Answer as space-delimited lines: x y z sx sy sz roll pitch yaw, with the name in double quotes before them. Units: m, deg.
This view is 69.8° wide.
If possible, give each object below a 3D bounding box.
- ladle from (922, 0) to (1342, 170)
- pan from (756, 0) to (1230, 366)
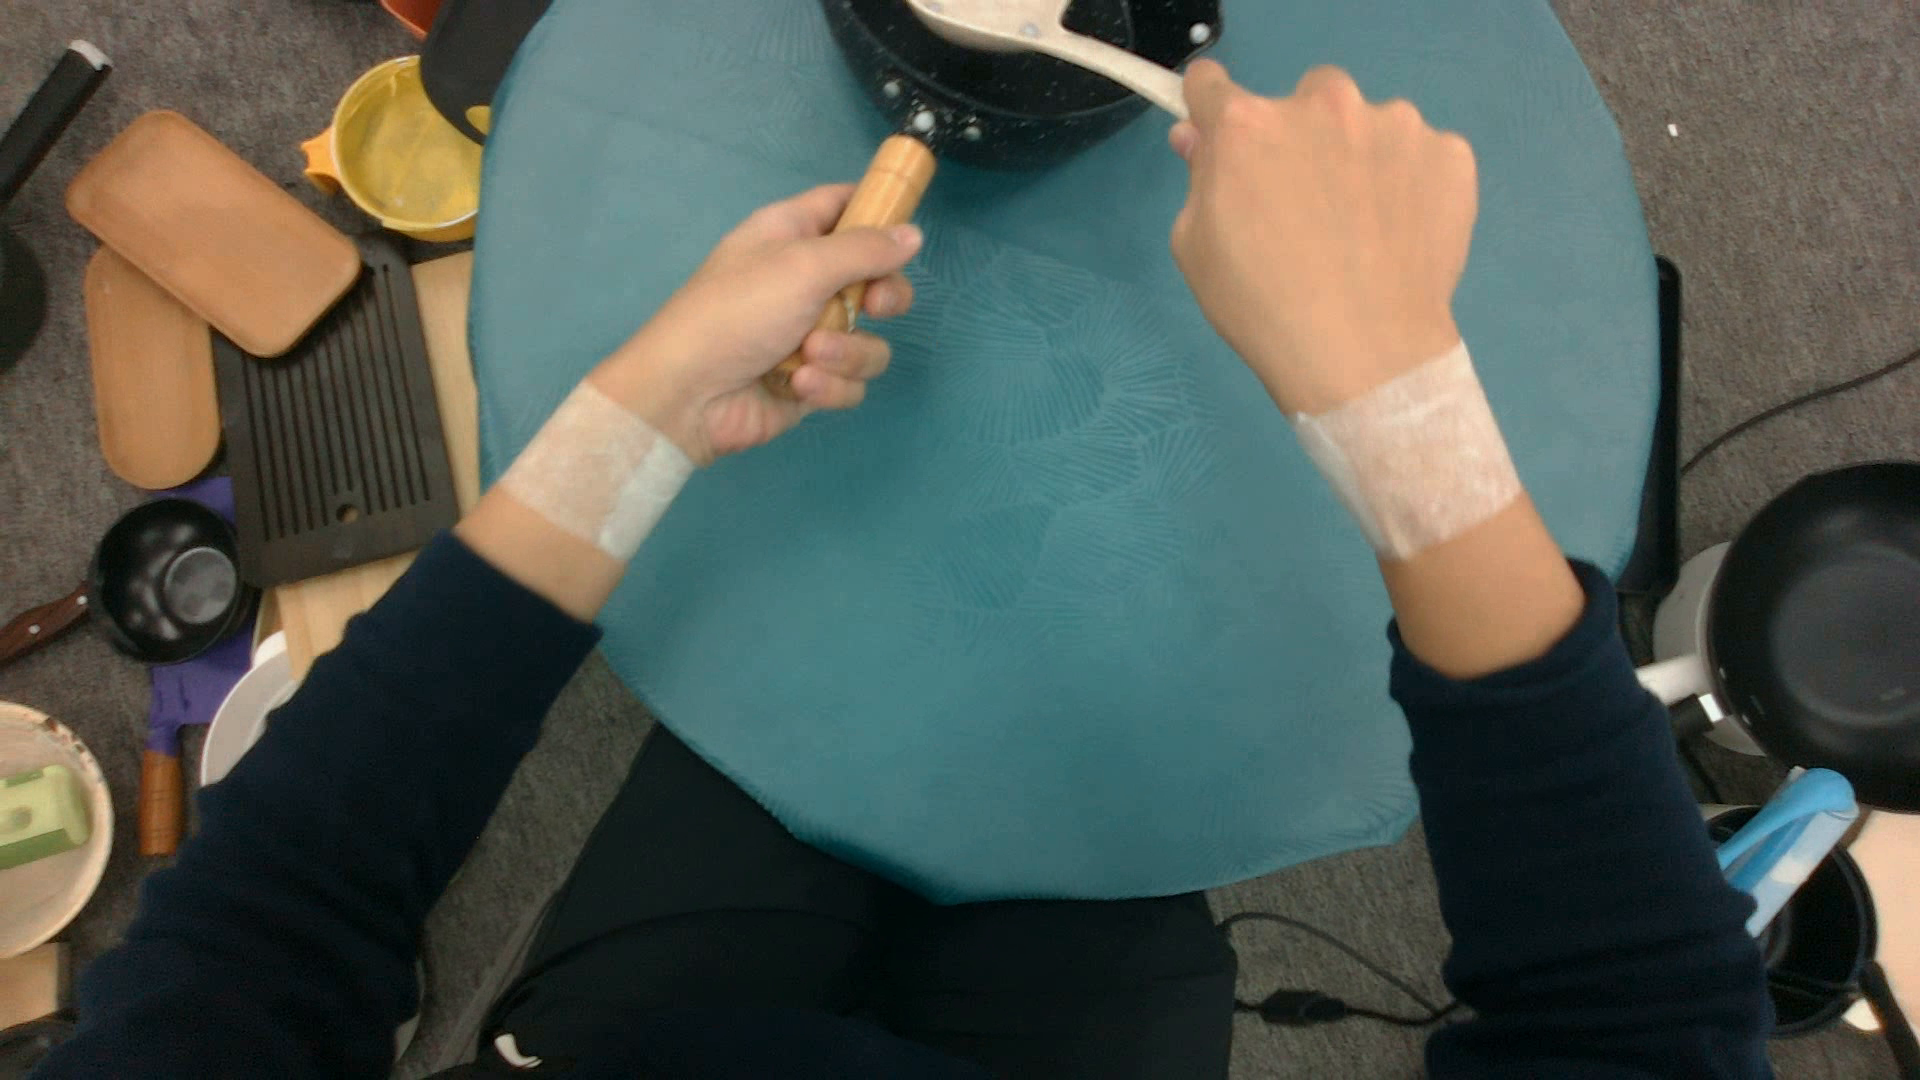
"ladle" 0.065 -0.215 0.551 0.089 0.275 0.069 -9 121 -25
"pan" -0.004 -0.210 0.625 0.207 0.108 0.344 27 74 -6
